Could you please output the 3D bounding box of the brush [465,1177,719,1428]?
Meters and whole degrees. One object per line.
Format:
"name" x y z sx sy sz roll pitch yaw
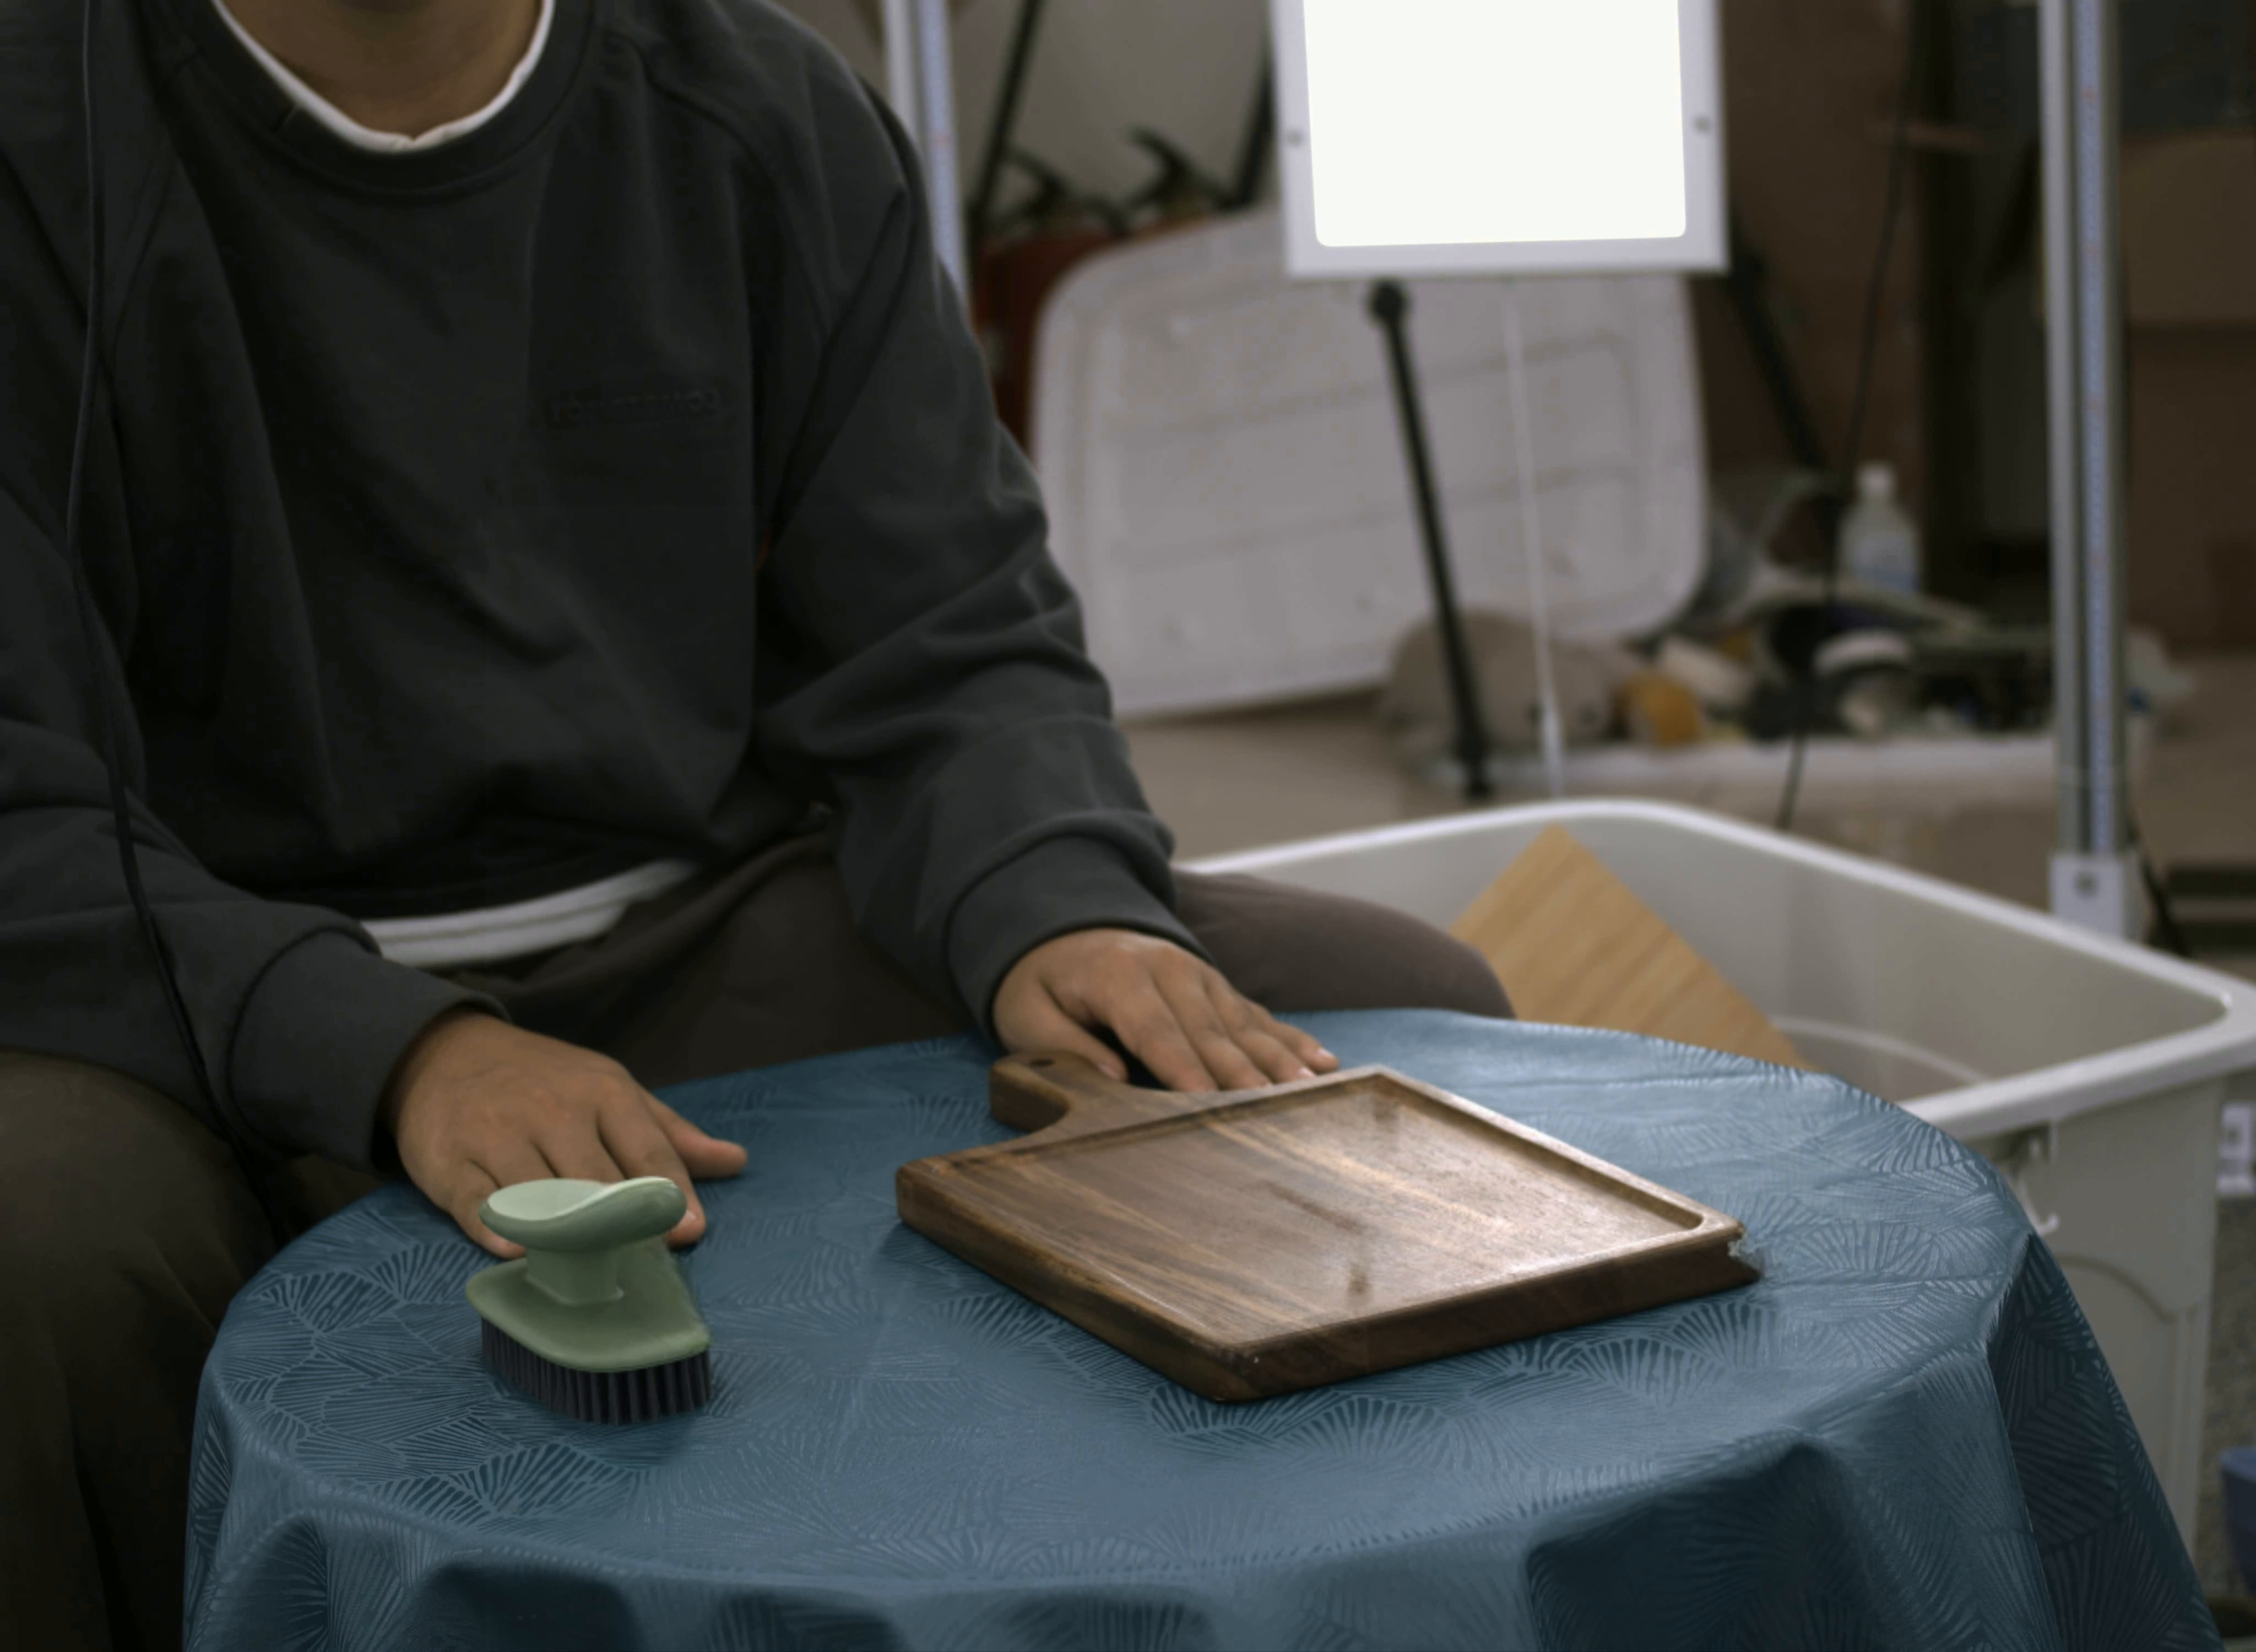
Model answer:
"brush" -0.171 0.150 1.753 0.058 0.076 0.125 -11 1 -26

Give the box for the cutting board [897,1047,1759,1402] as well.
"cutting board" 0.040 0.121 1.862 0.197 0.023 0.358 -11 14 -24
